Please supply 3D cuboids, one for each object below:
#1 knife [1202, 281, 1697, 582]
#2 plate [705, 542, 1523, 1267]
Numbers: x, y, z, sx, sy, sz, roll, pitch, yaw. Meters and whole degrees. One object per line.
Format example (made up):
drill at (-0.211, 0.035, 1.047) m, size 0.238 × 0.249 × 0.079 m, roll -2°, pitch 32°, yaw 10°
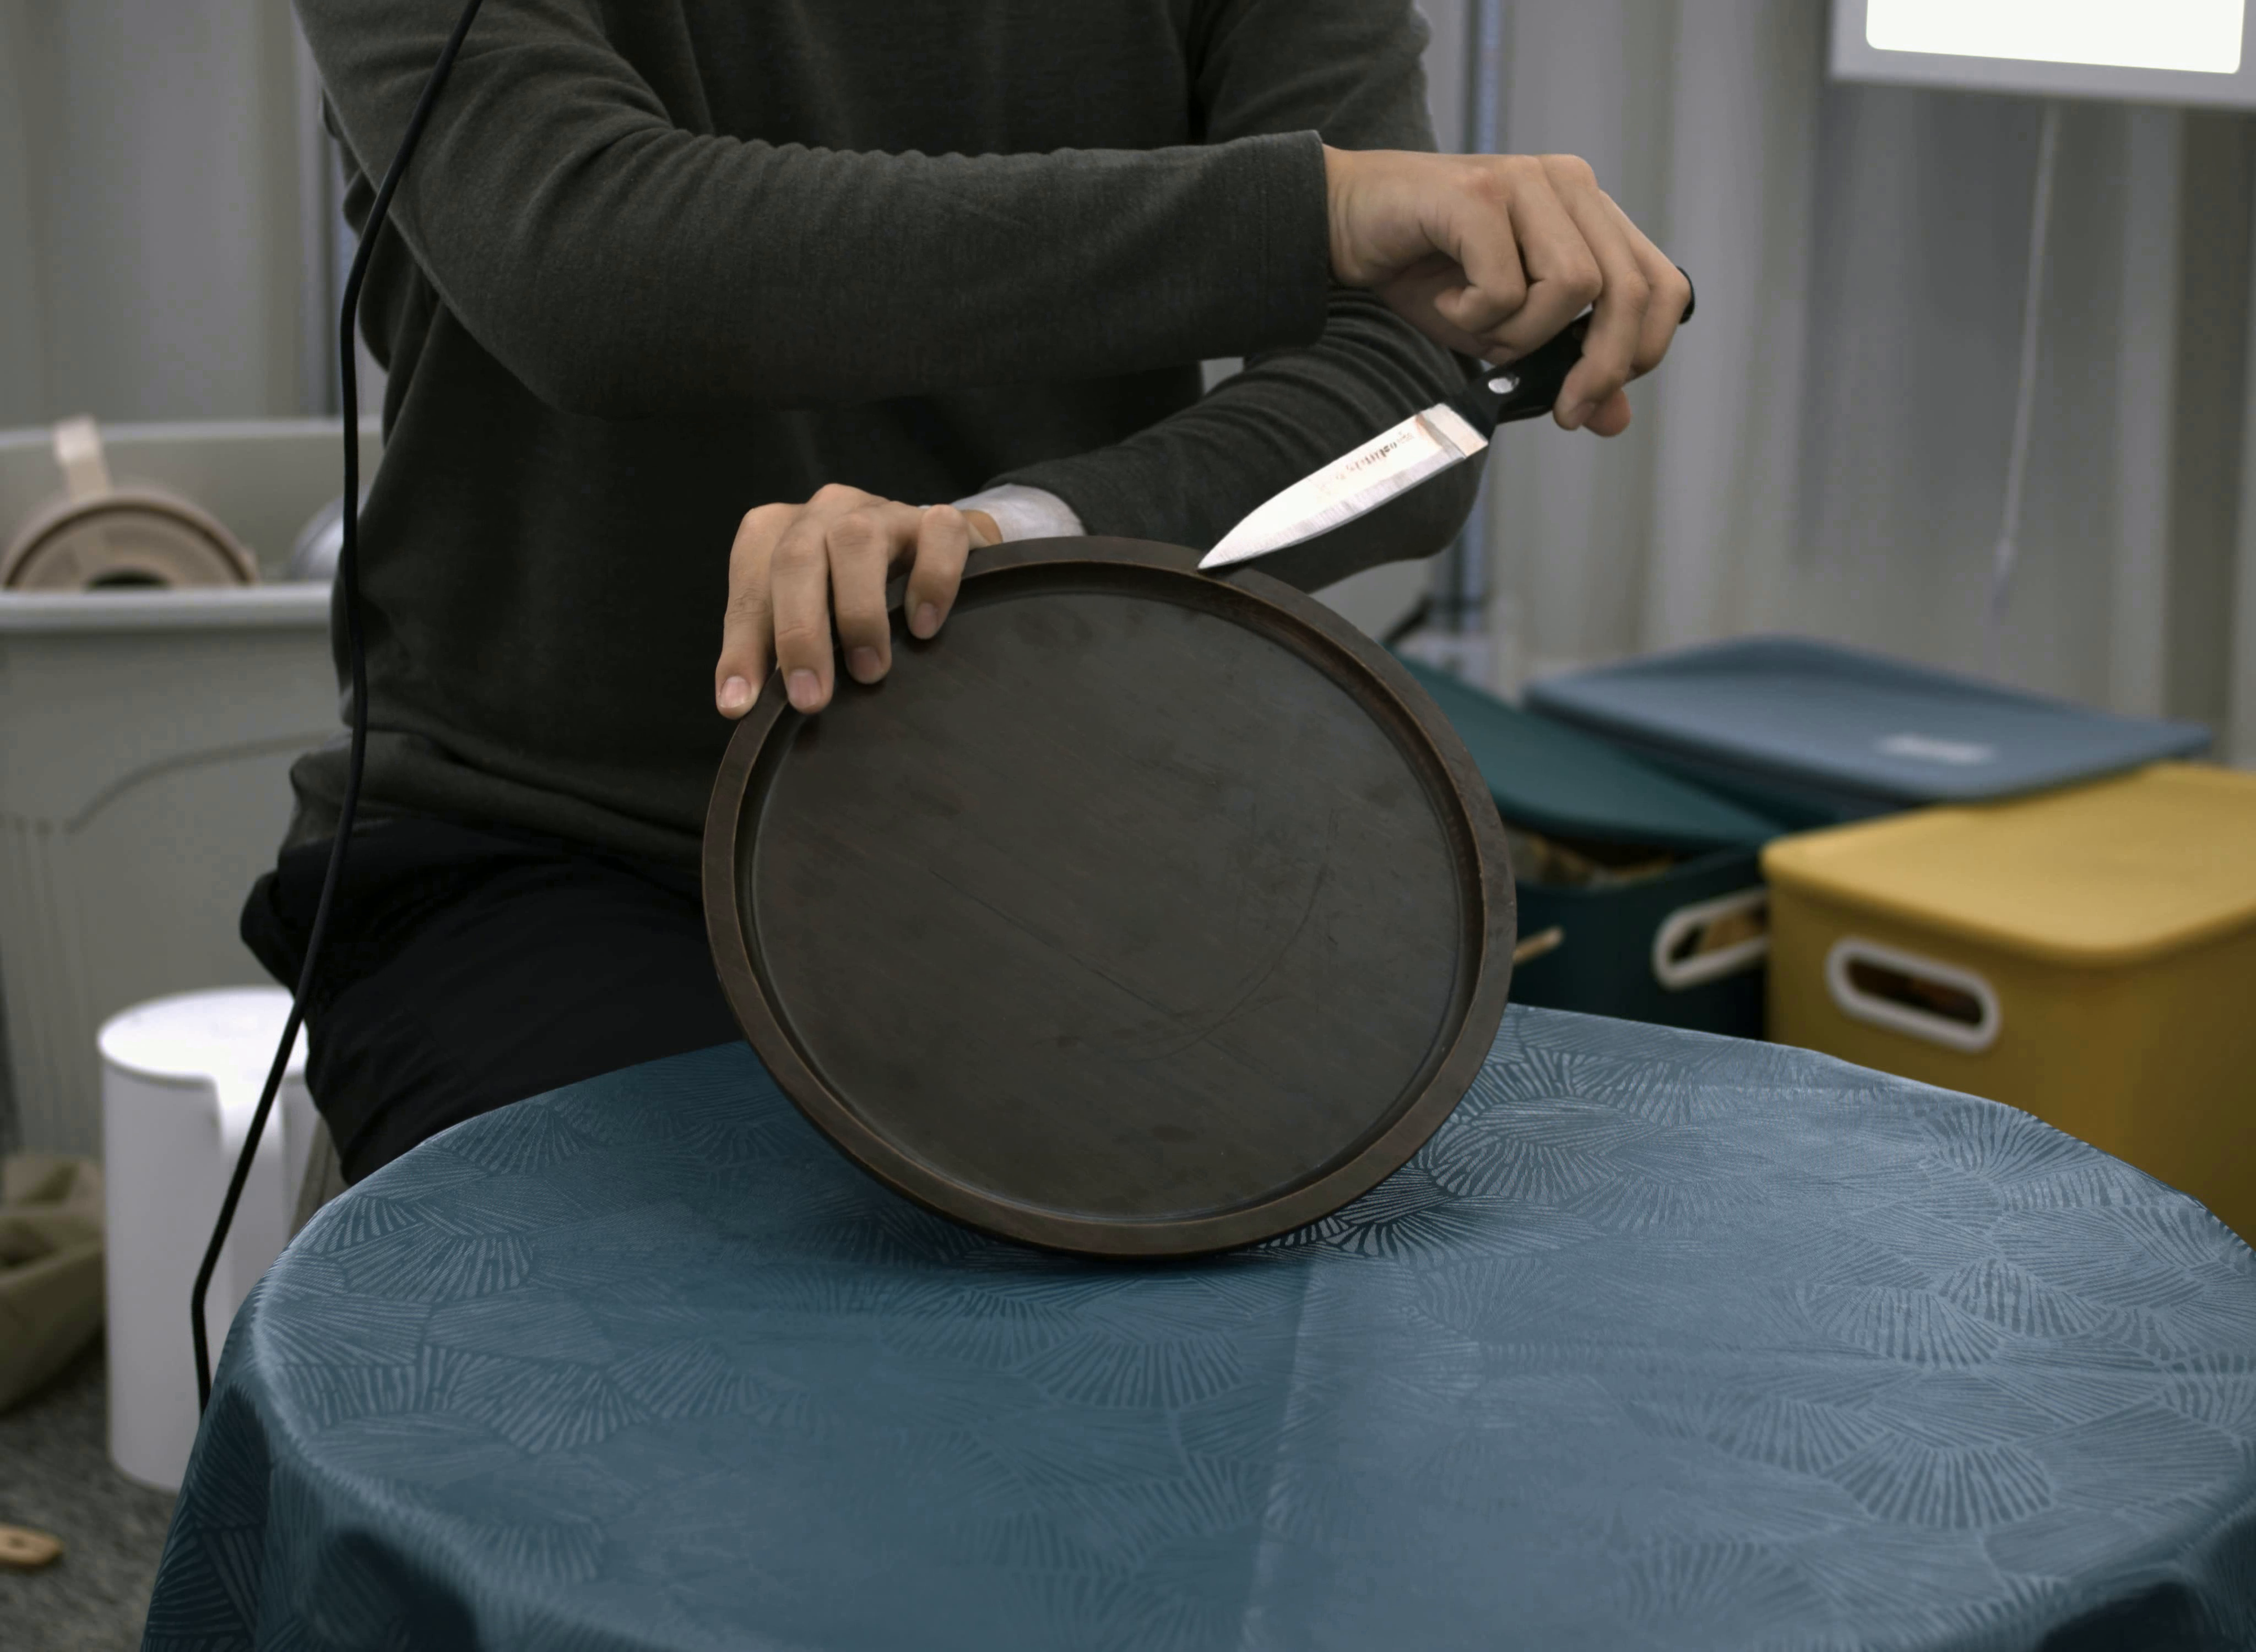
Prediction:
knife at (0.105, -0.131, 1.730) m, size 0.238 × 0.016 × 0.024 m, roll -31°, pitch 77°, yaw -35°
plate at (-0.005, 0.022, 1.618) m, size 0.255 × 0.029 × 0.253 m, roll 5°, pitch 60°, yaw -8°
